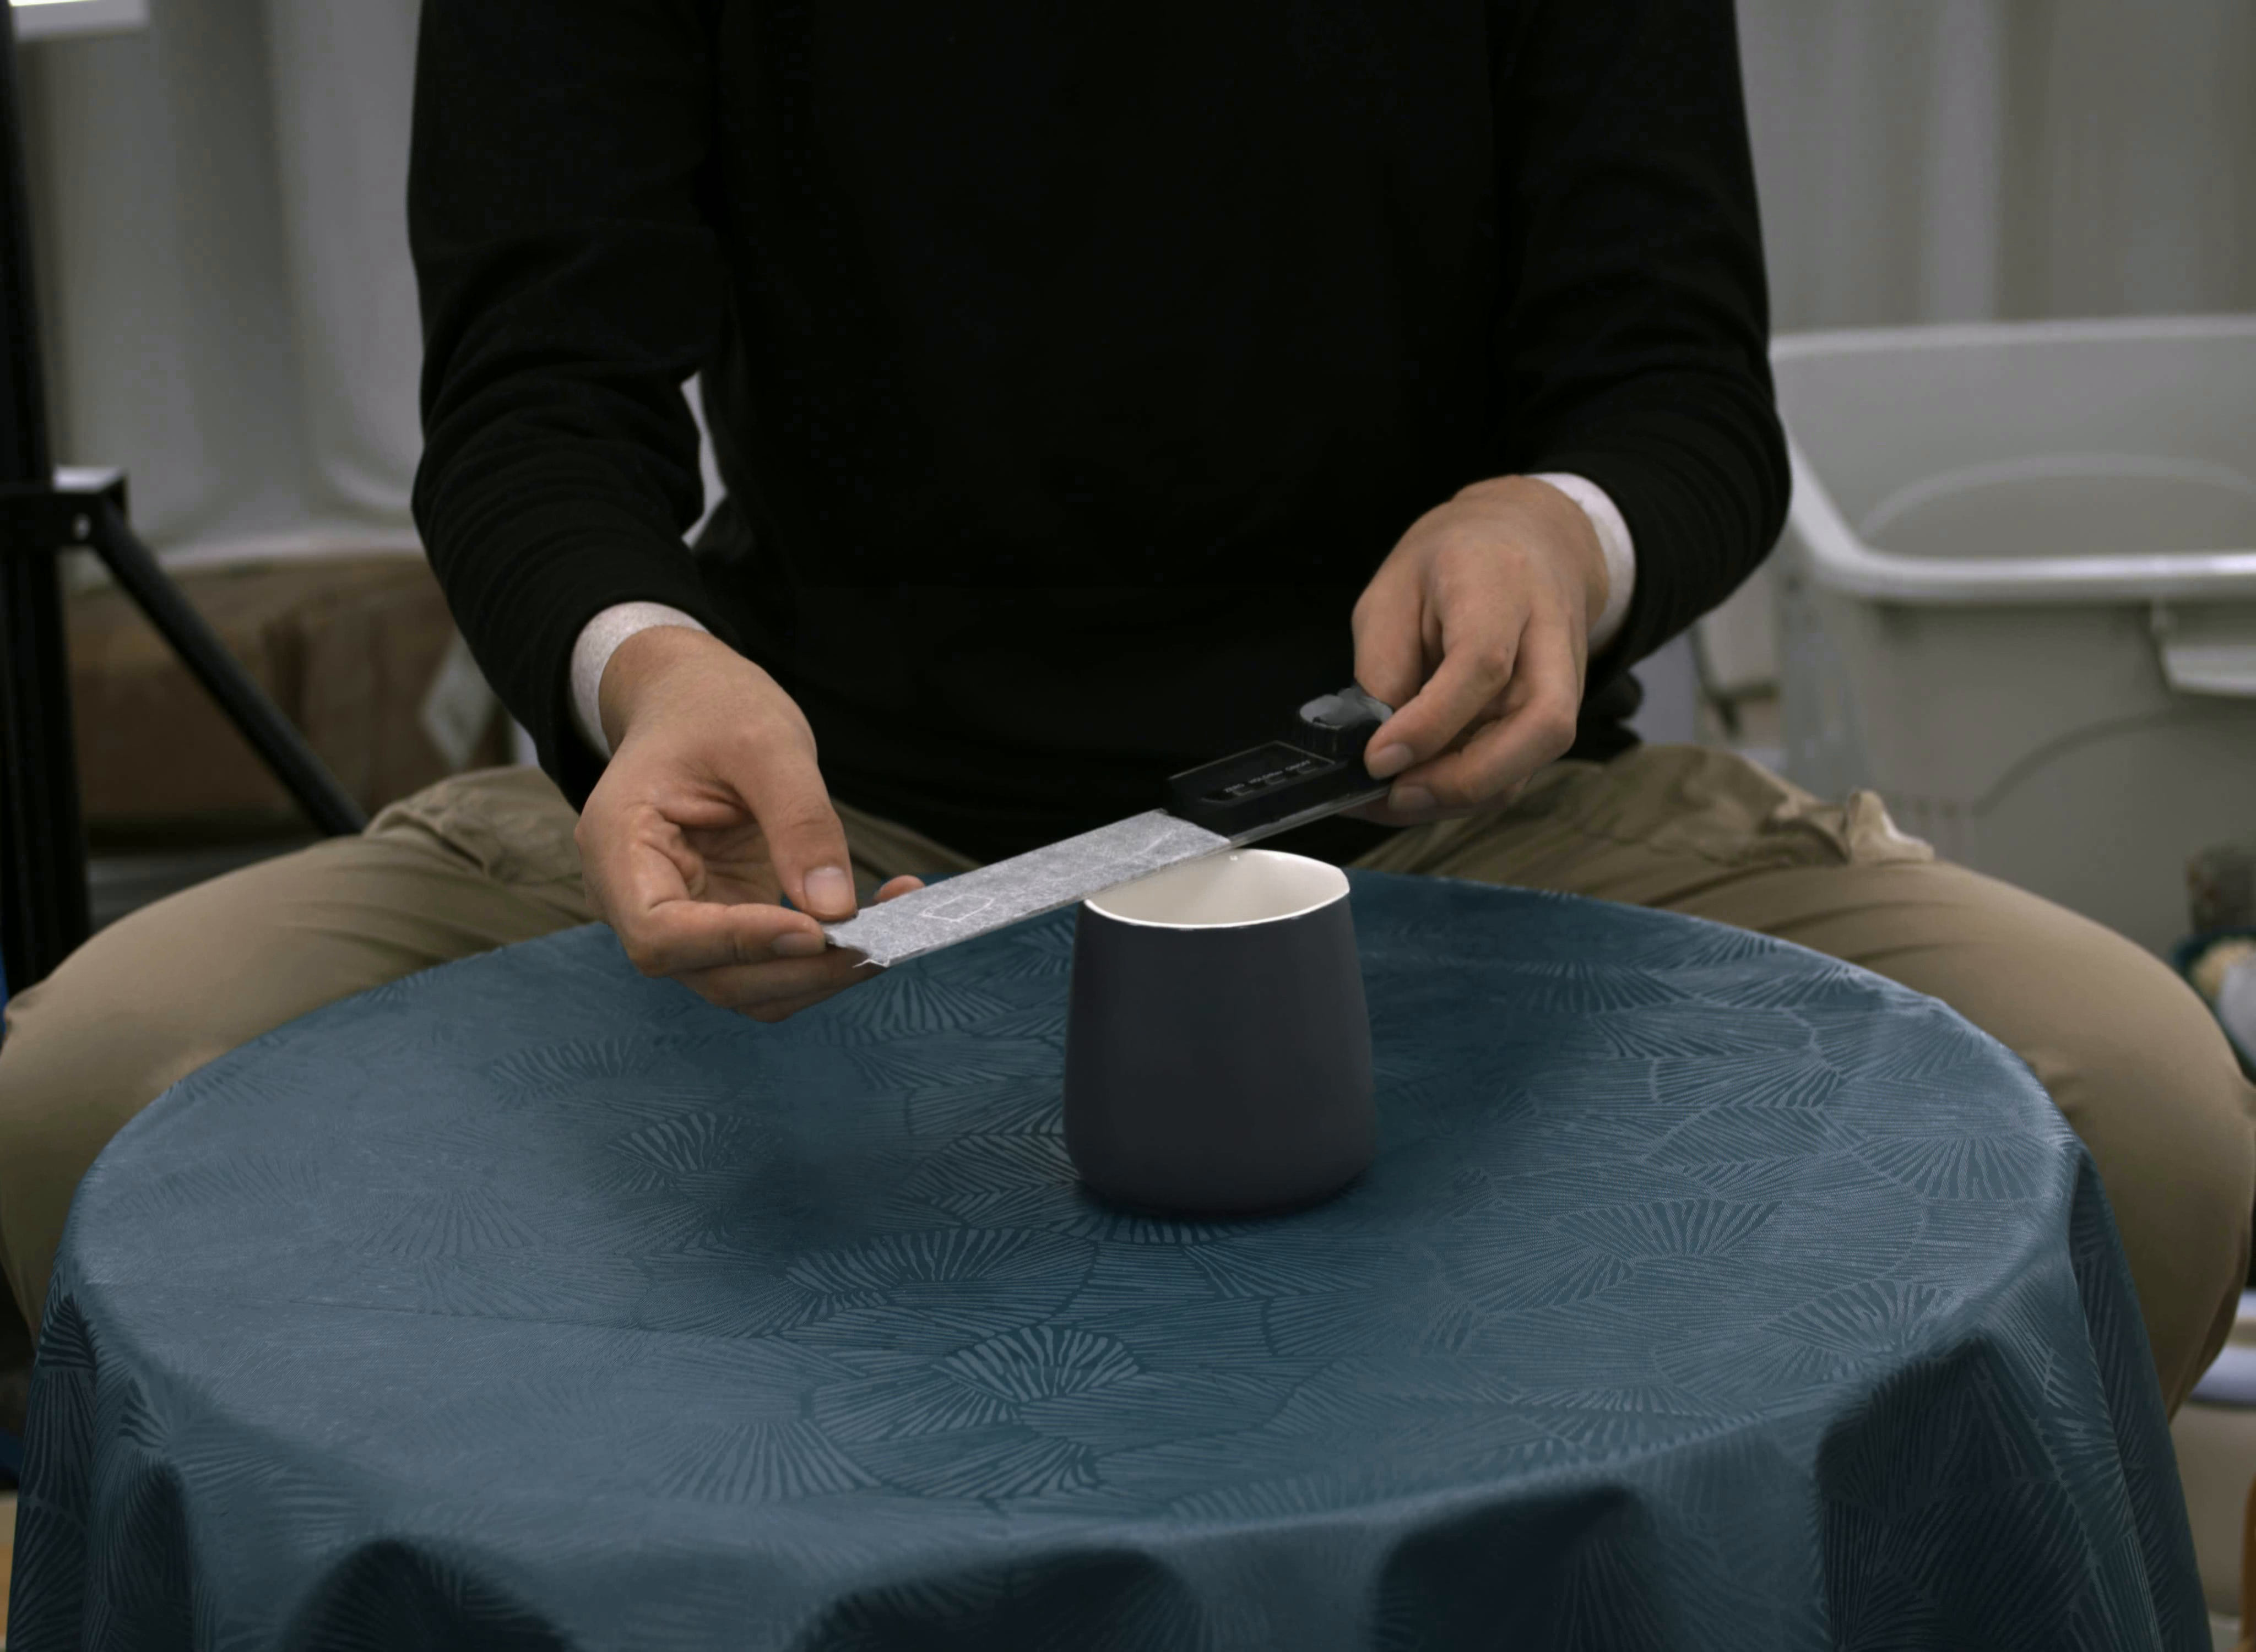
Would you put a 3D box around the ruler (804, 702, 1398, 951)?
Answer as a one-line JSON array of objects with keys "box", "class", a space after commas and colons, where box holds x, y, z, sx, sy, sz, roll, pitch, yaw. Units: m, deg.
[{"box": [-0.002, -0.002, 1.563, 0.213, 0.024, 0.039, -17, 20, -39], "class": "ruler"}]

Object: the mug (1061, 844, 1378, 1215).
[{"box": [0.028, 0.055, 1.568, 0.093, 0.090, 0.123, 0, 17, 5], "class": "mug"}]
